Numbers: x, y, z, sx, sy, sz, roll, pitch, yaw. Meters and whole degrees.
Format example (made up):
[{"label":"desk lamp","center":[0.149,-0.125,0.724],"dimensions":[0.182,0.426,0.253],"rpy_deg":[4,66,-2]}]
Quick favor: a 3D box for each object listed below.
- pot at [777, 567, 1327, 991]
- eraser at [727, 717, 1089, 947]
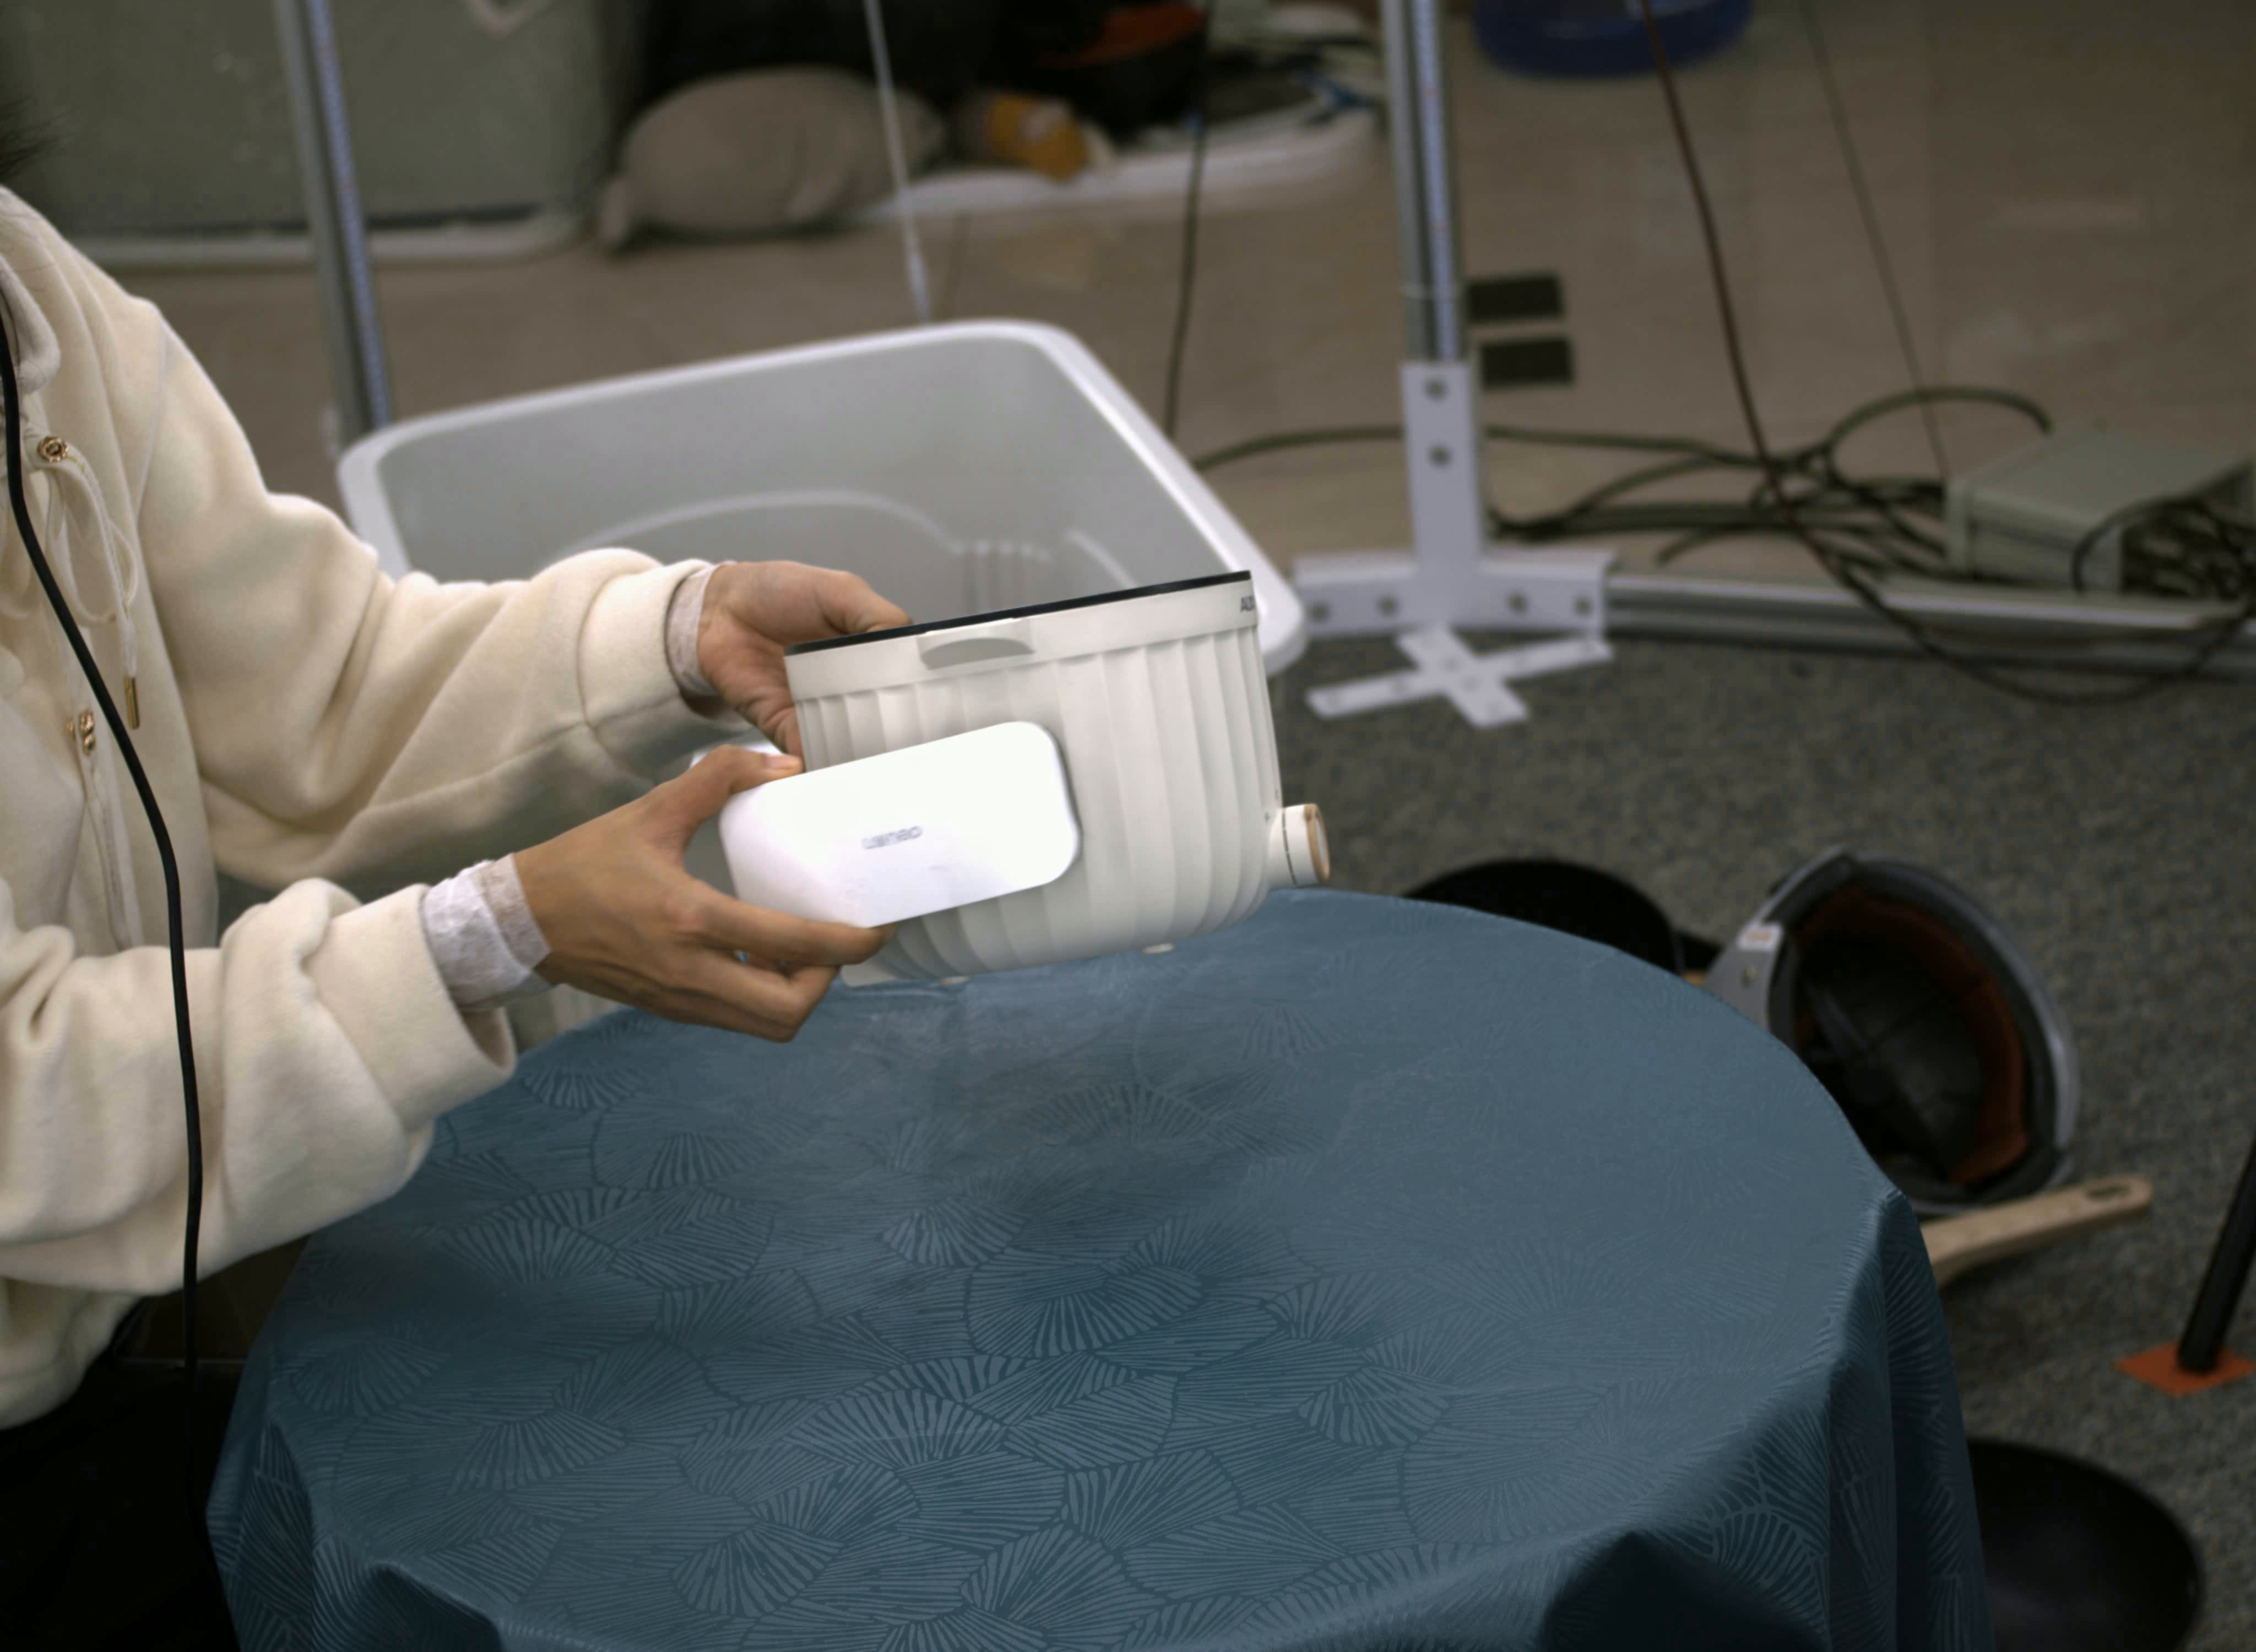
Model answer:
[{"label":"pot","center":[-0.027,-0.018,2.154],"dimensions":[0.190,0.143,0.239],"rpy_deg":[-12,3,9]},{"label":"eraser","center":[-0.080,0.001,2.061],"dimensions":[0.131,0.063,0.034],"rpy_deg":[-14,3,16]}]
